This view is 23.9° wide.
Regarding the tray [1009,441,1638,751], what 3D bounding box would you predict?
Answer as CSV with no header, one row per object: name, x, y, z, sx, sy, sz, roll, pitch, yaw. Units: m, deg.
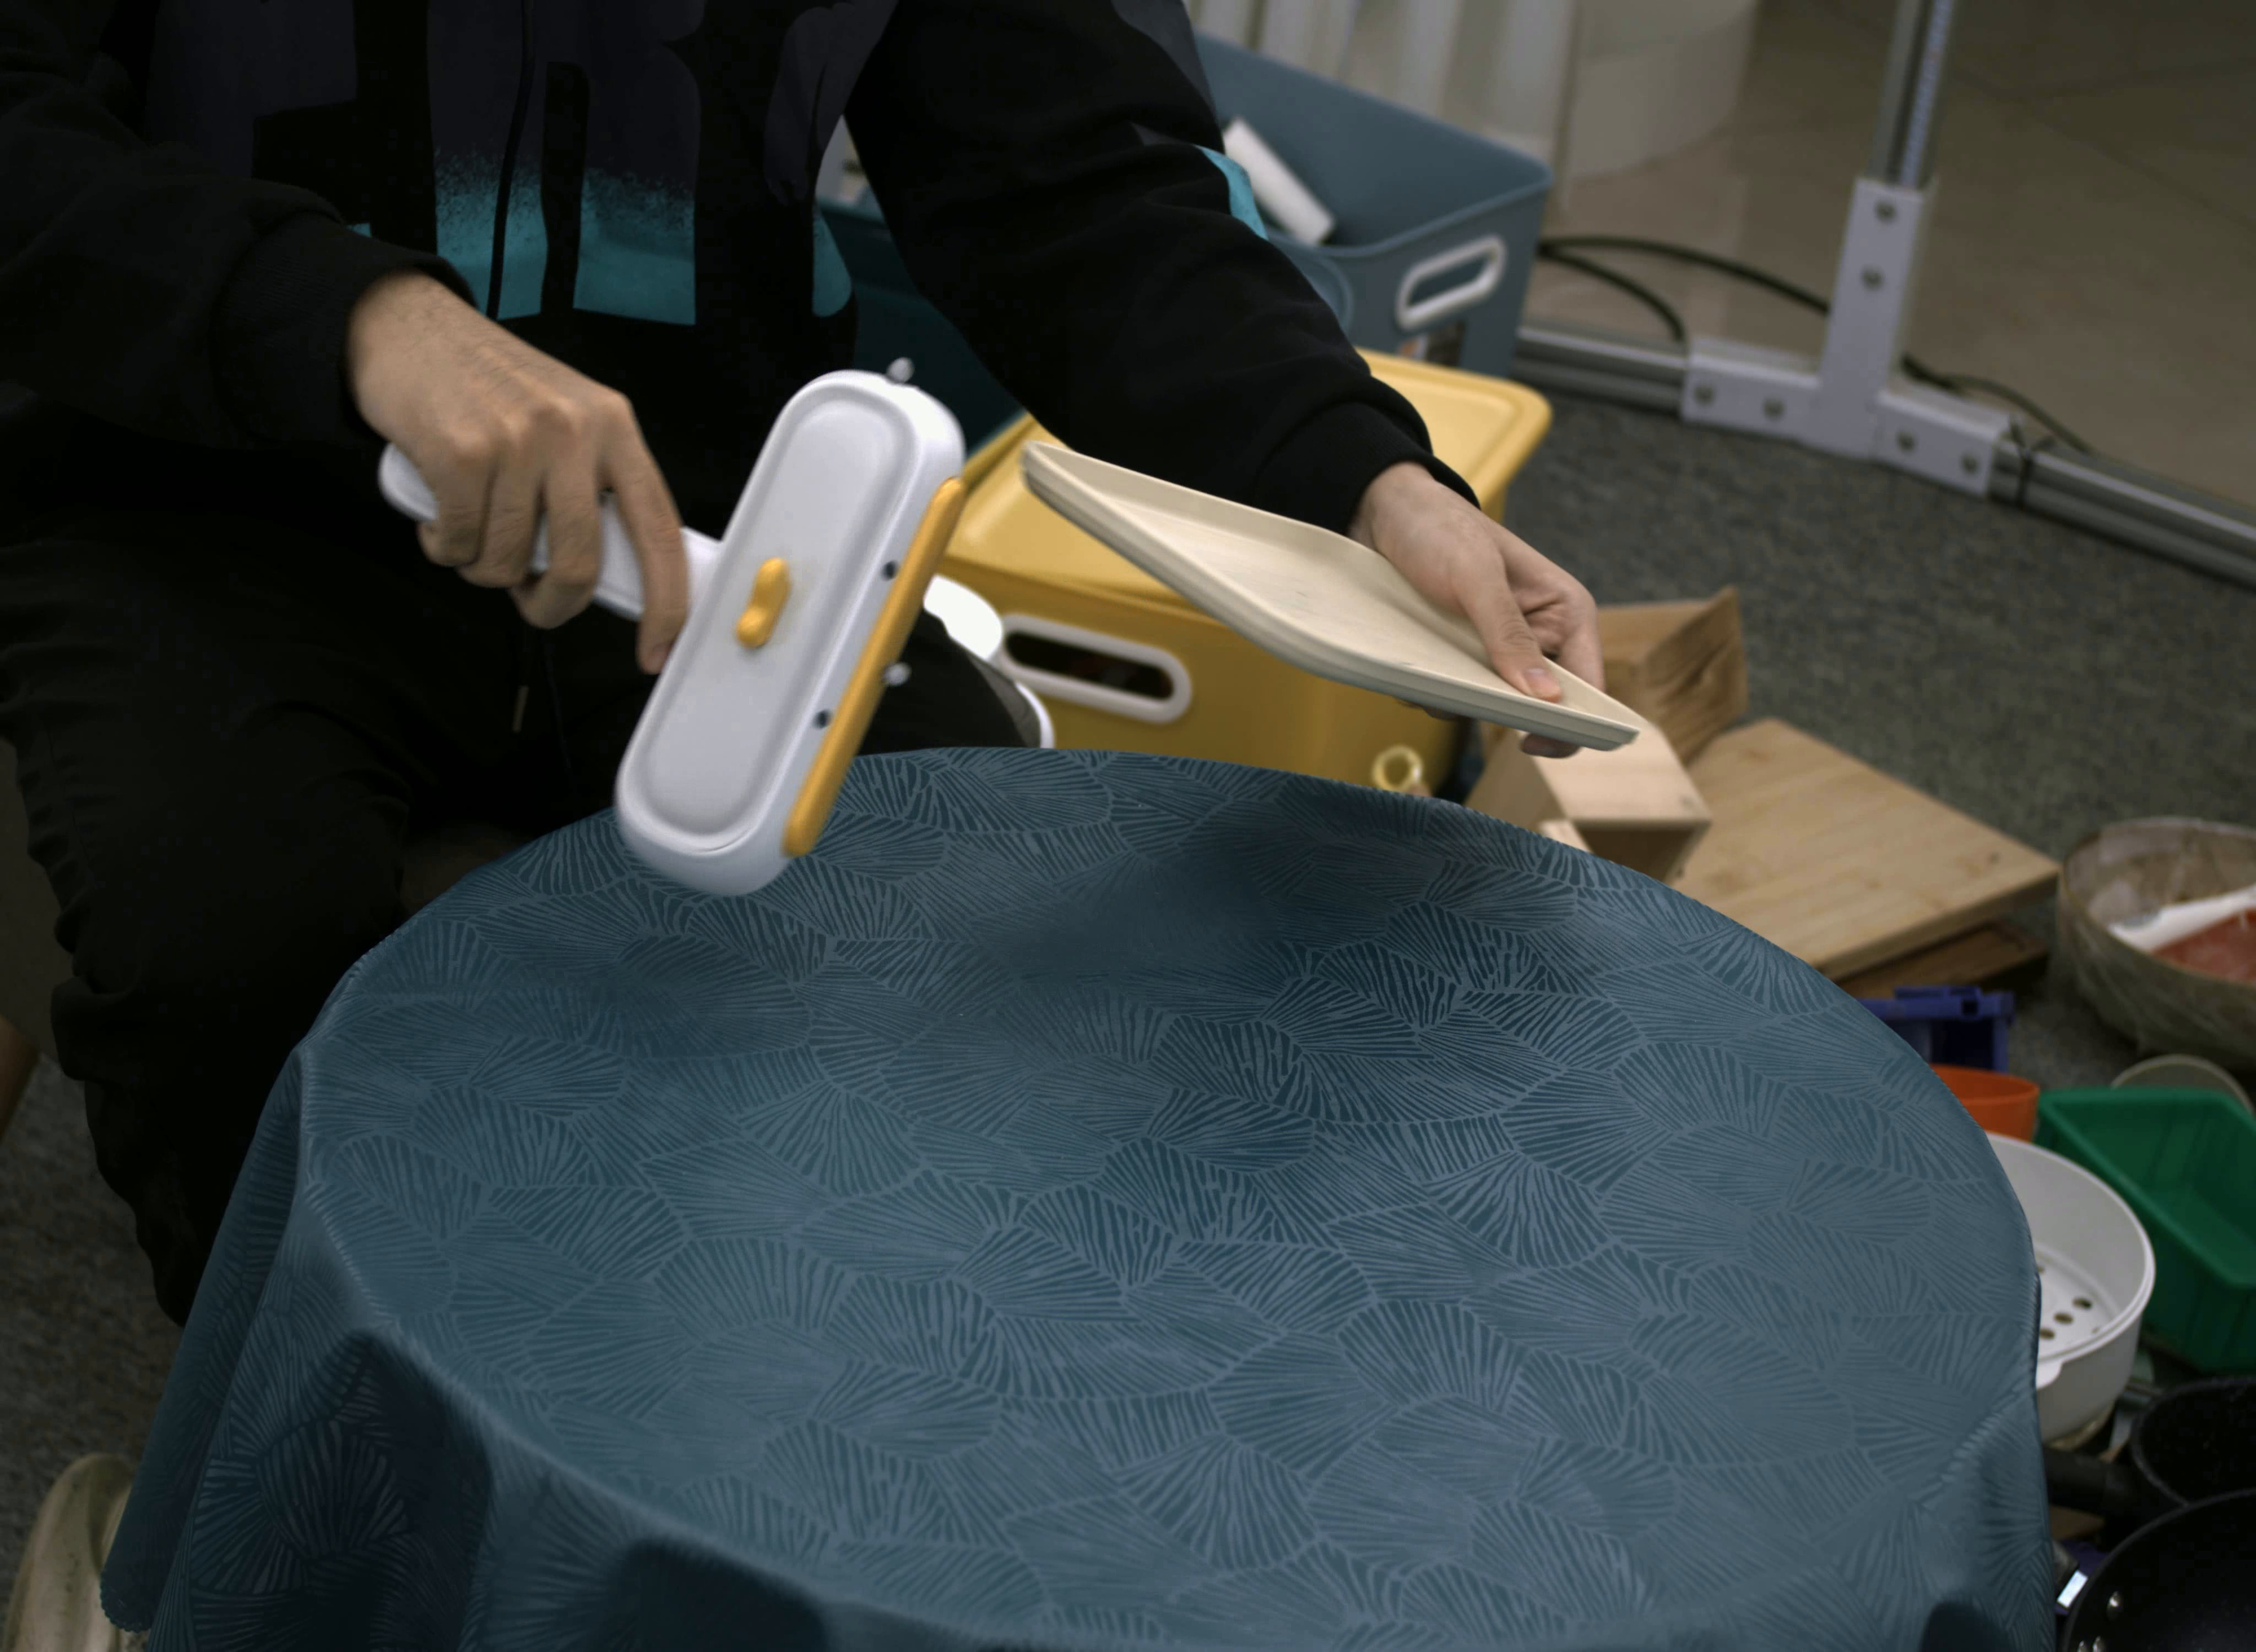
tray,0.072,-0.081,1.950,0.172,0.017,0.237,35,13,37

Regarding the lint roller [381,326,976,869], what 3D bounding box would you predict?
lint roller,-0.167,-0.097,1.868,0.192,0.193,0.074,18,1,12
